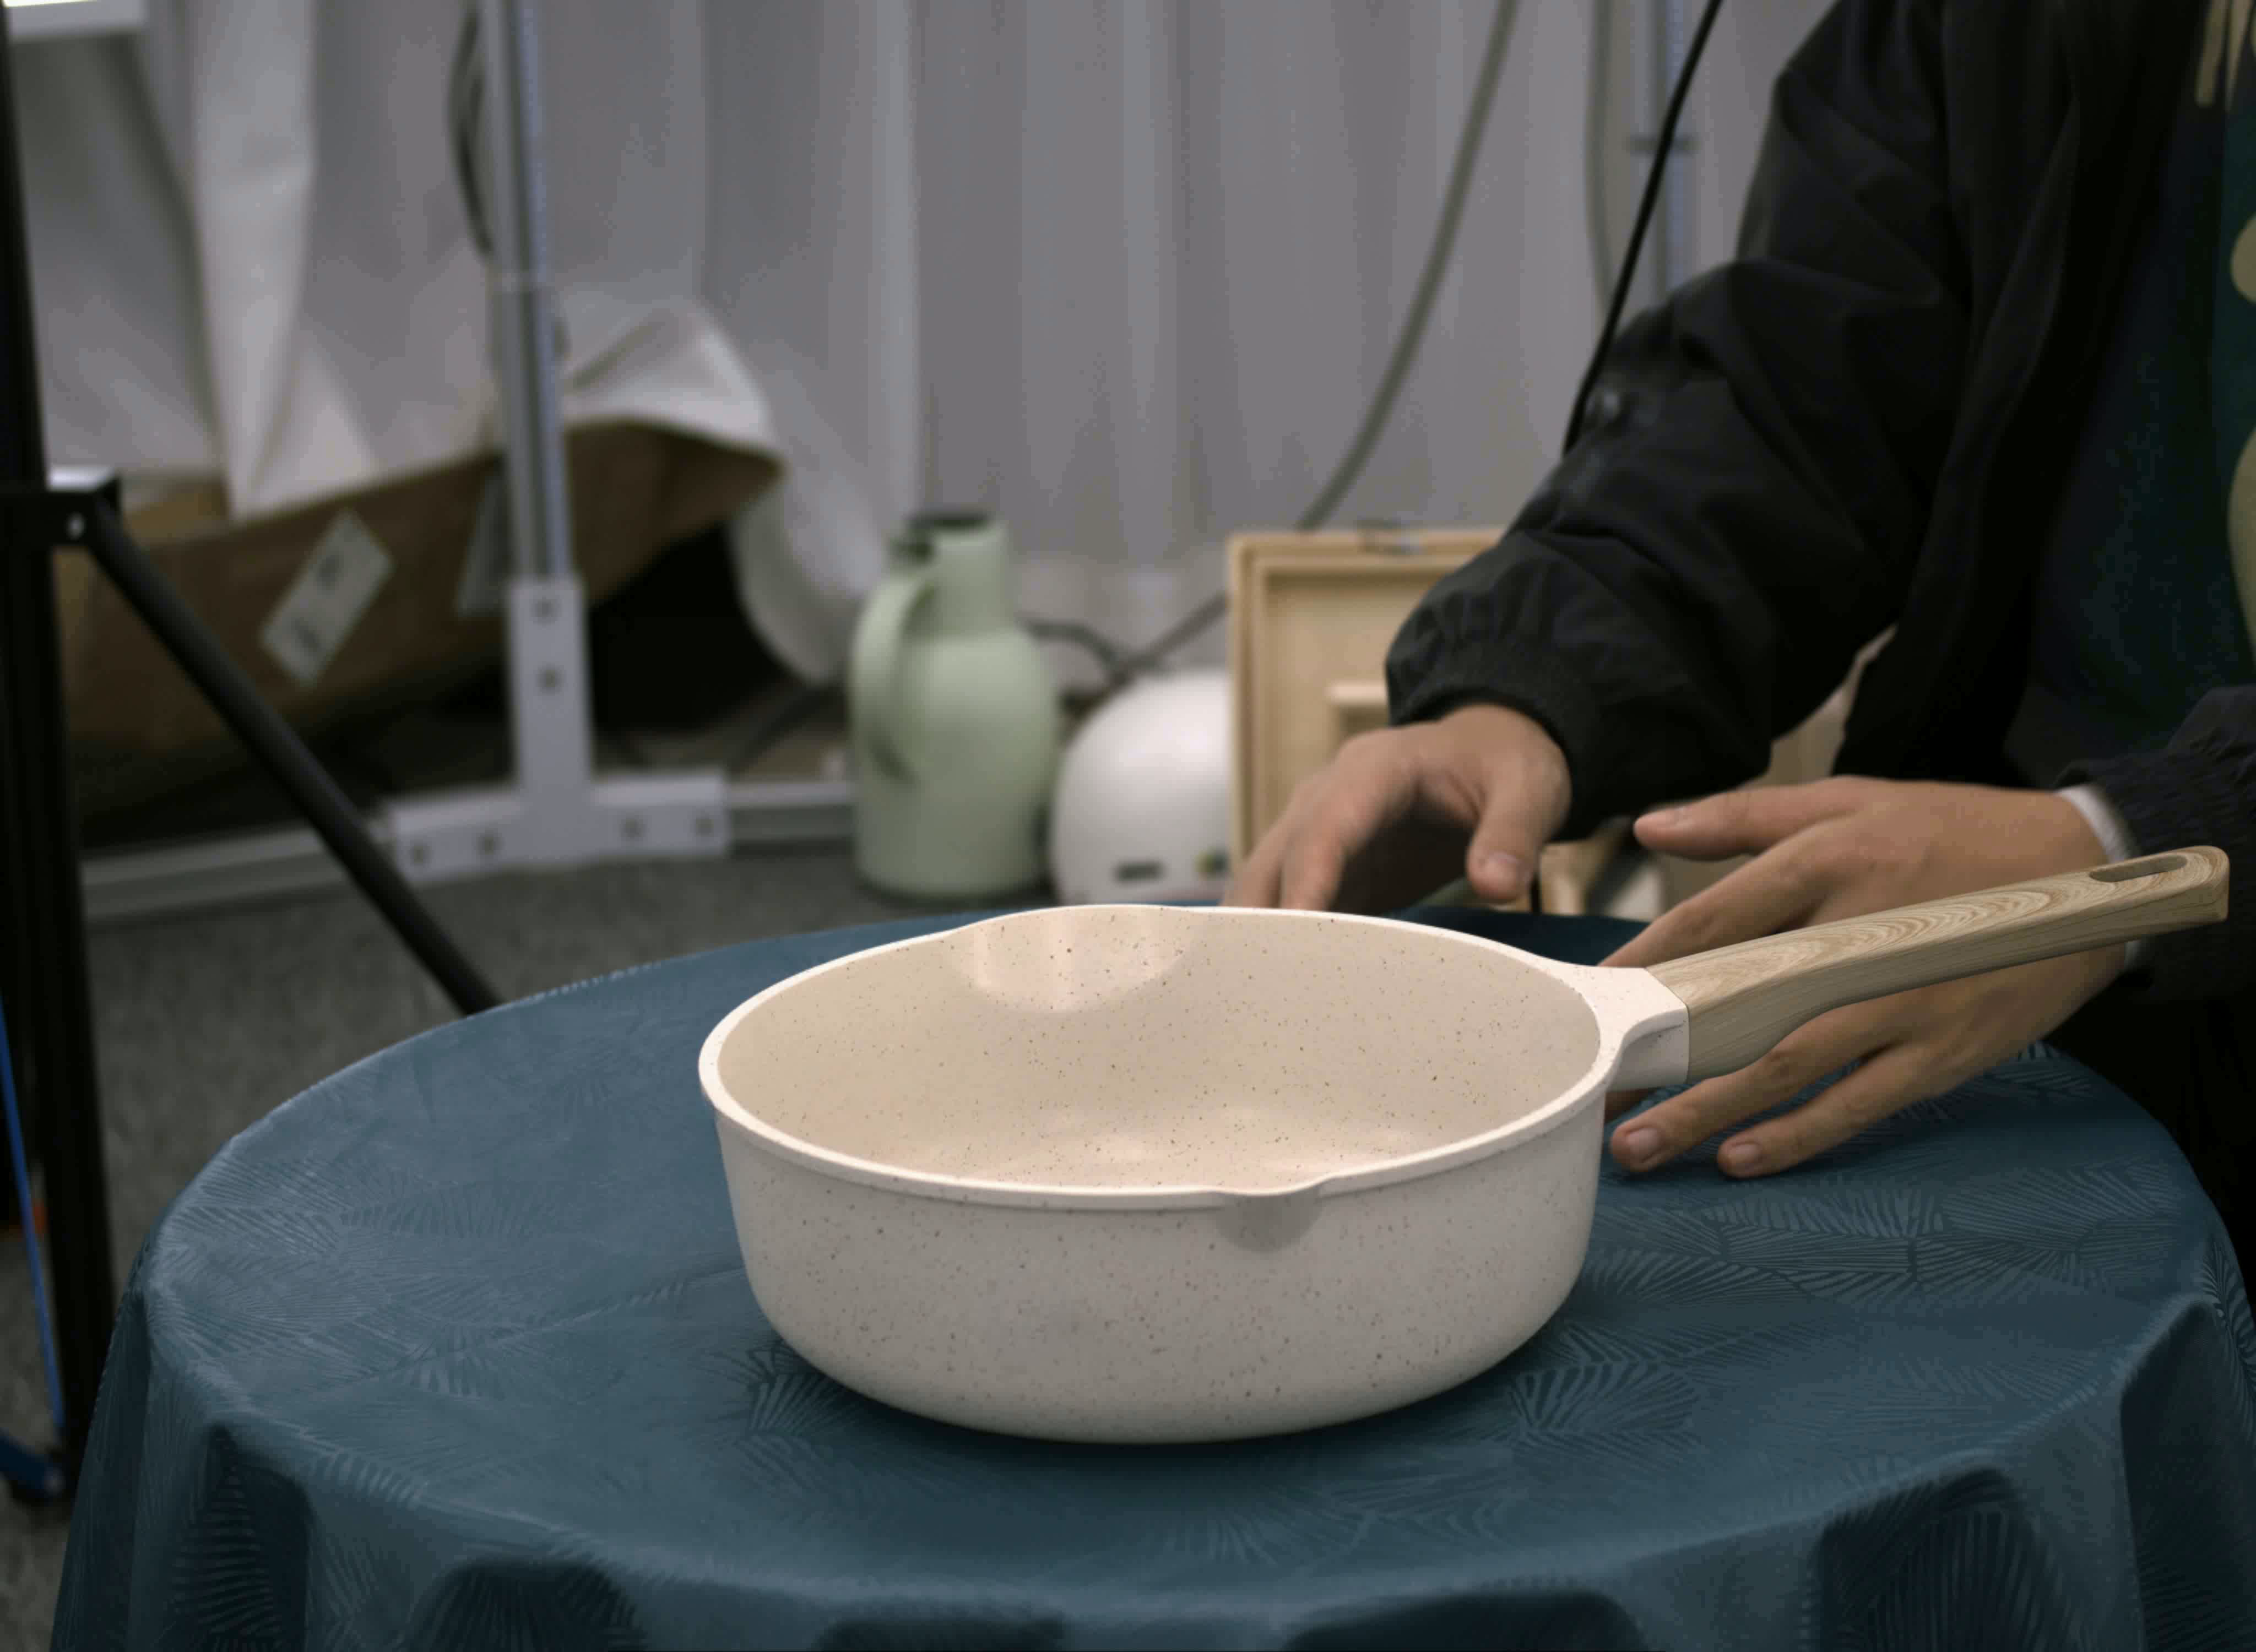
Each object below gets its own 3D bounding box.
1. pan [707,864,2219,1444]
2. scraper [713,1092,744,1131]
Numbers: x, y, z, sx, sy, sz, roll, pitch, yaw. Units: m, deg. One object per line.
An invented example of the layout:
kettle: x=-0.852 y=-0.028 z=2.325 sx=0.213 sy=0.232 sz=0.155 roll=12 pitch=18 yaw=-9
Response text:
pan: x=0.101 y=0.081 z=1.458 sx=0.429 sy=0.102 sz=0.267 roll=-5 pitch=14 yaw=-11
scraper: x=-0.048 y=0.072 z=1.680 sx=0.077 sy=0.011 sz=0.207 roll=7 pitch=18 yaw=28
